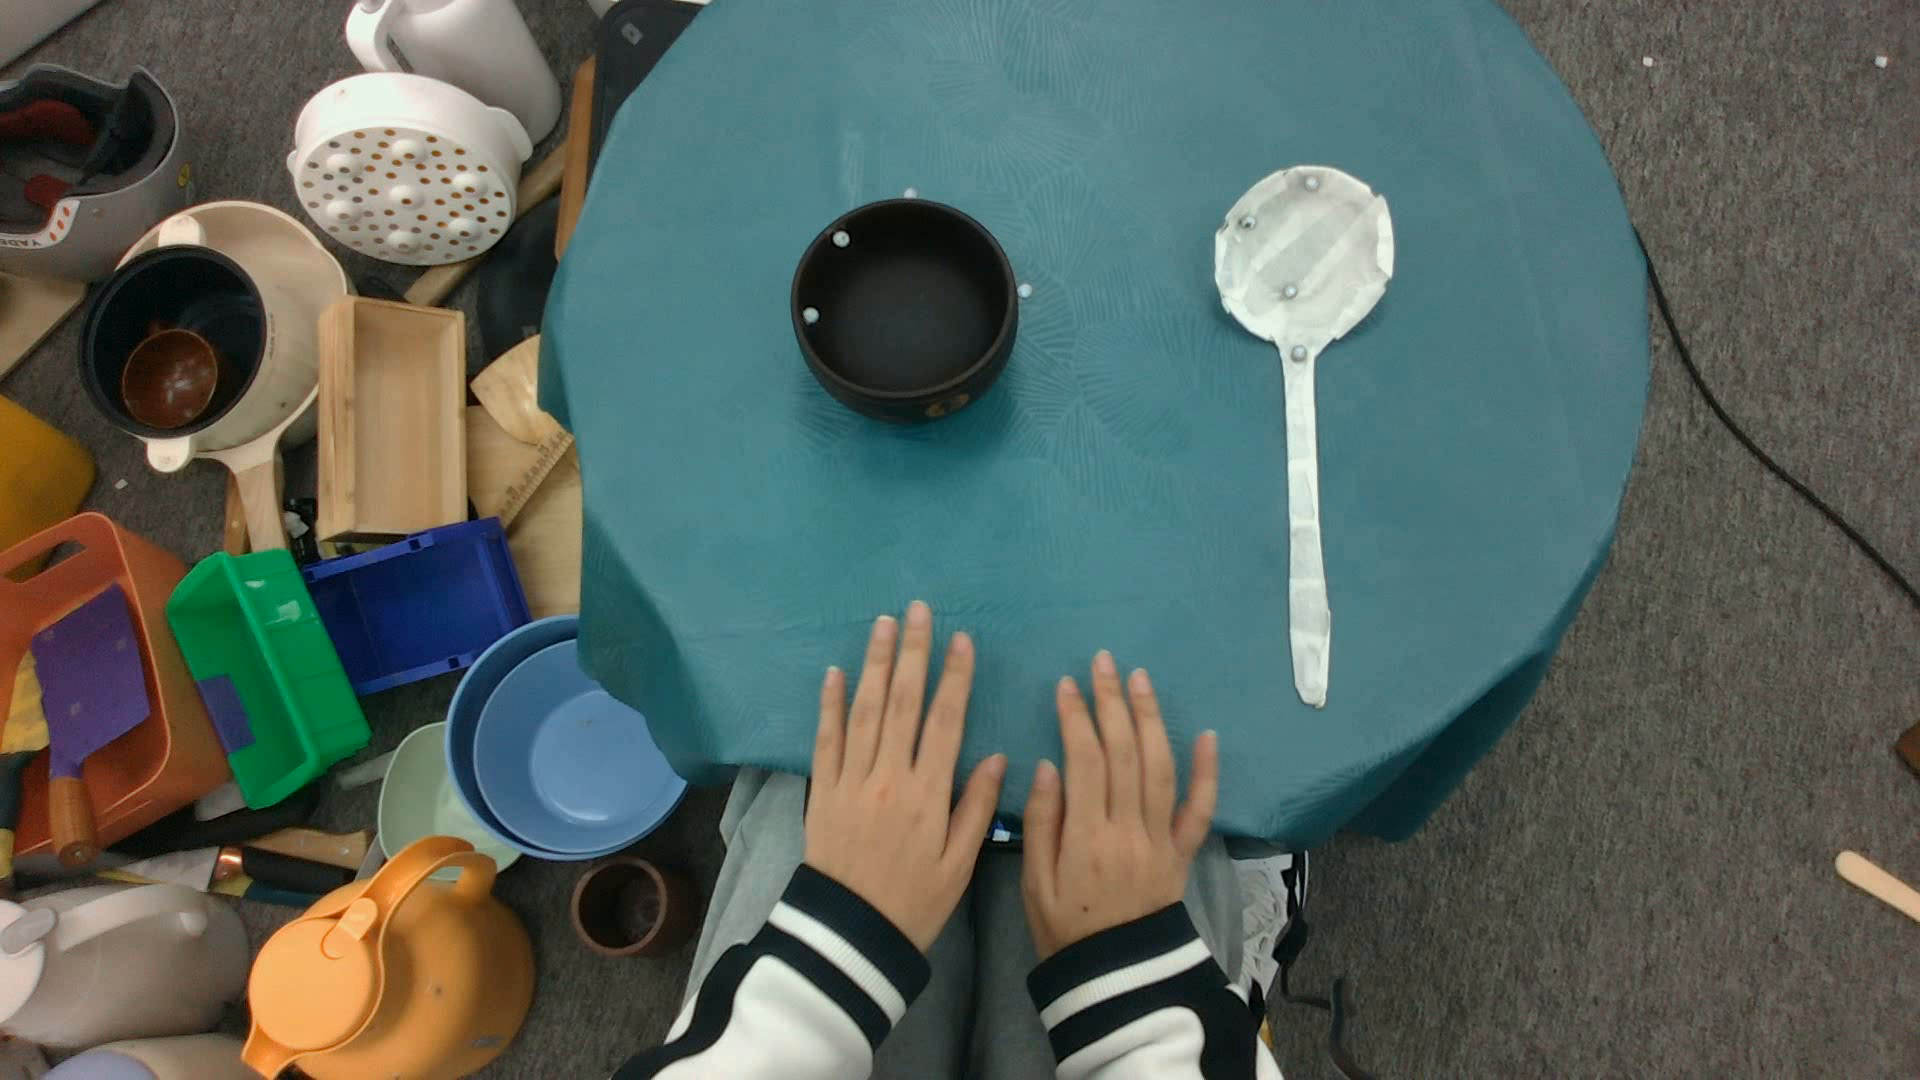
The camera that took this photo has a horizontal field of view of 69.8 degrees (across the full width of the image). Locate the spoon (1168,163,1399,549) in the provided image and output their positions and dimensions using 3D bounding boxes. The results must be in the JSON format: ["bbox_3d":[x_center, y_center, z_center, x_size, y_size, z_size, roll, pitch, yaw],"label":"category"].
[{"bbox_3d":[0.209,-0.097,0.805,0.100,0.277,0.059,-25,43,16],"label":"spoon"}]

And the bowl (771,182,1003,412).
[{"bbox_3d":[-0.036,-0.121,0.724,0.118,0.069,0.118,-1,73,2],"label":"bowl"}]
